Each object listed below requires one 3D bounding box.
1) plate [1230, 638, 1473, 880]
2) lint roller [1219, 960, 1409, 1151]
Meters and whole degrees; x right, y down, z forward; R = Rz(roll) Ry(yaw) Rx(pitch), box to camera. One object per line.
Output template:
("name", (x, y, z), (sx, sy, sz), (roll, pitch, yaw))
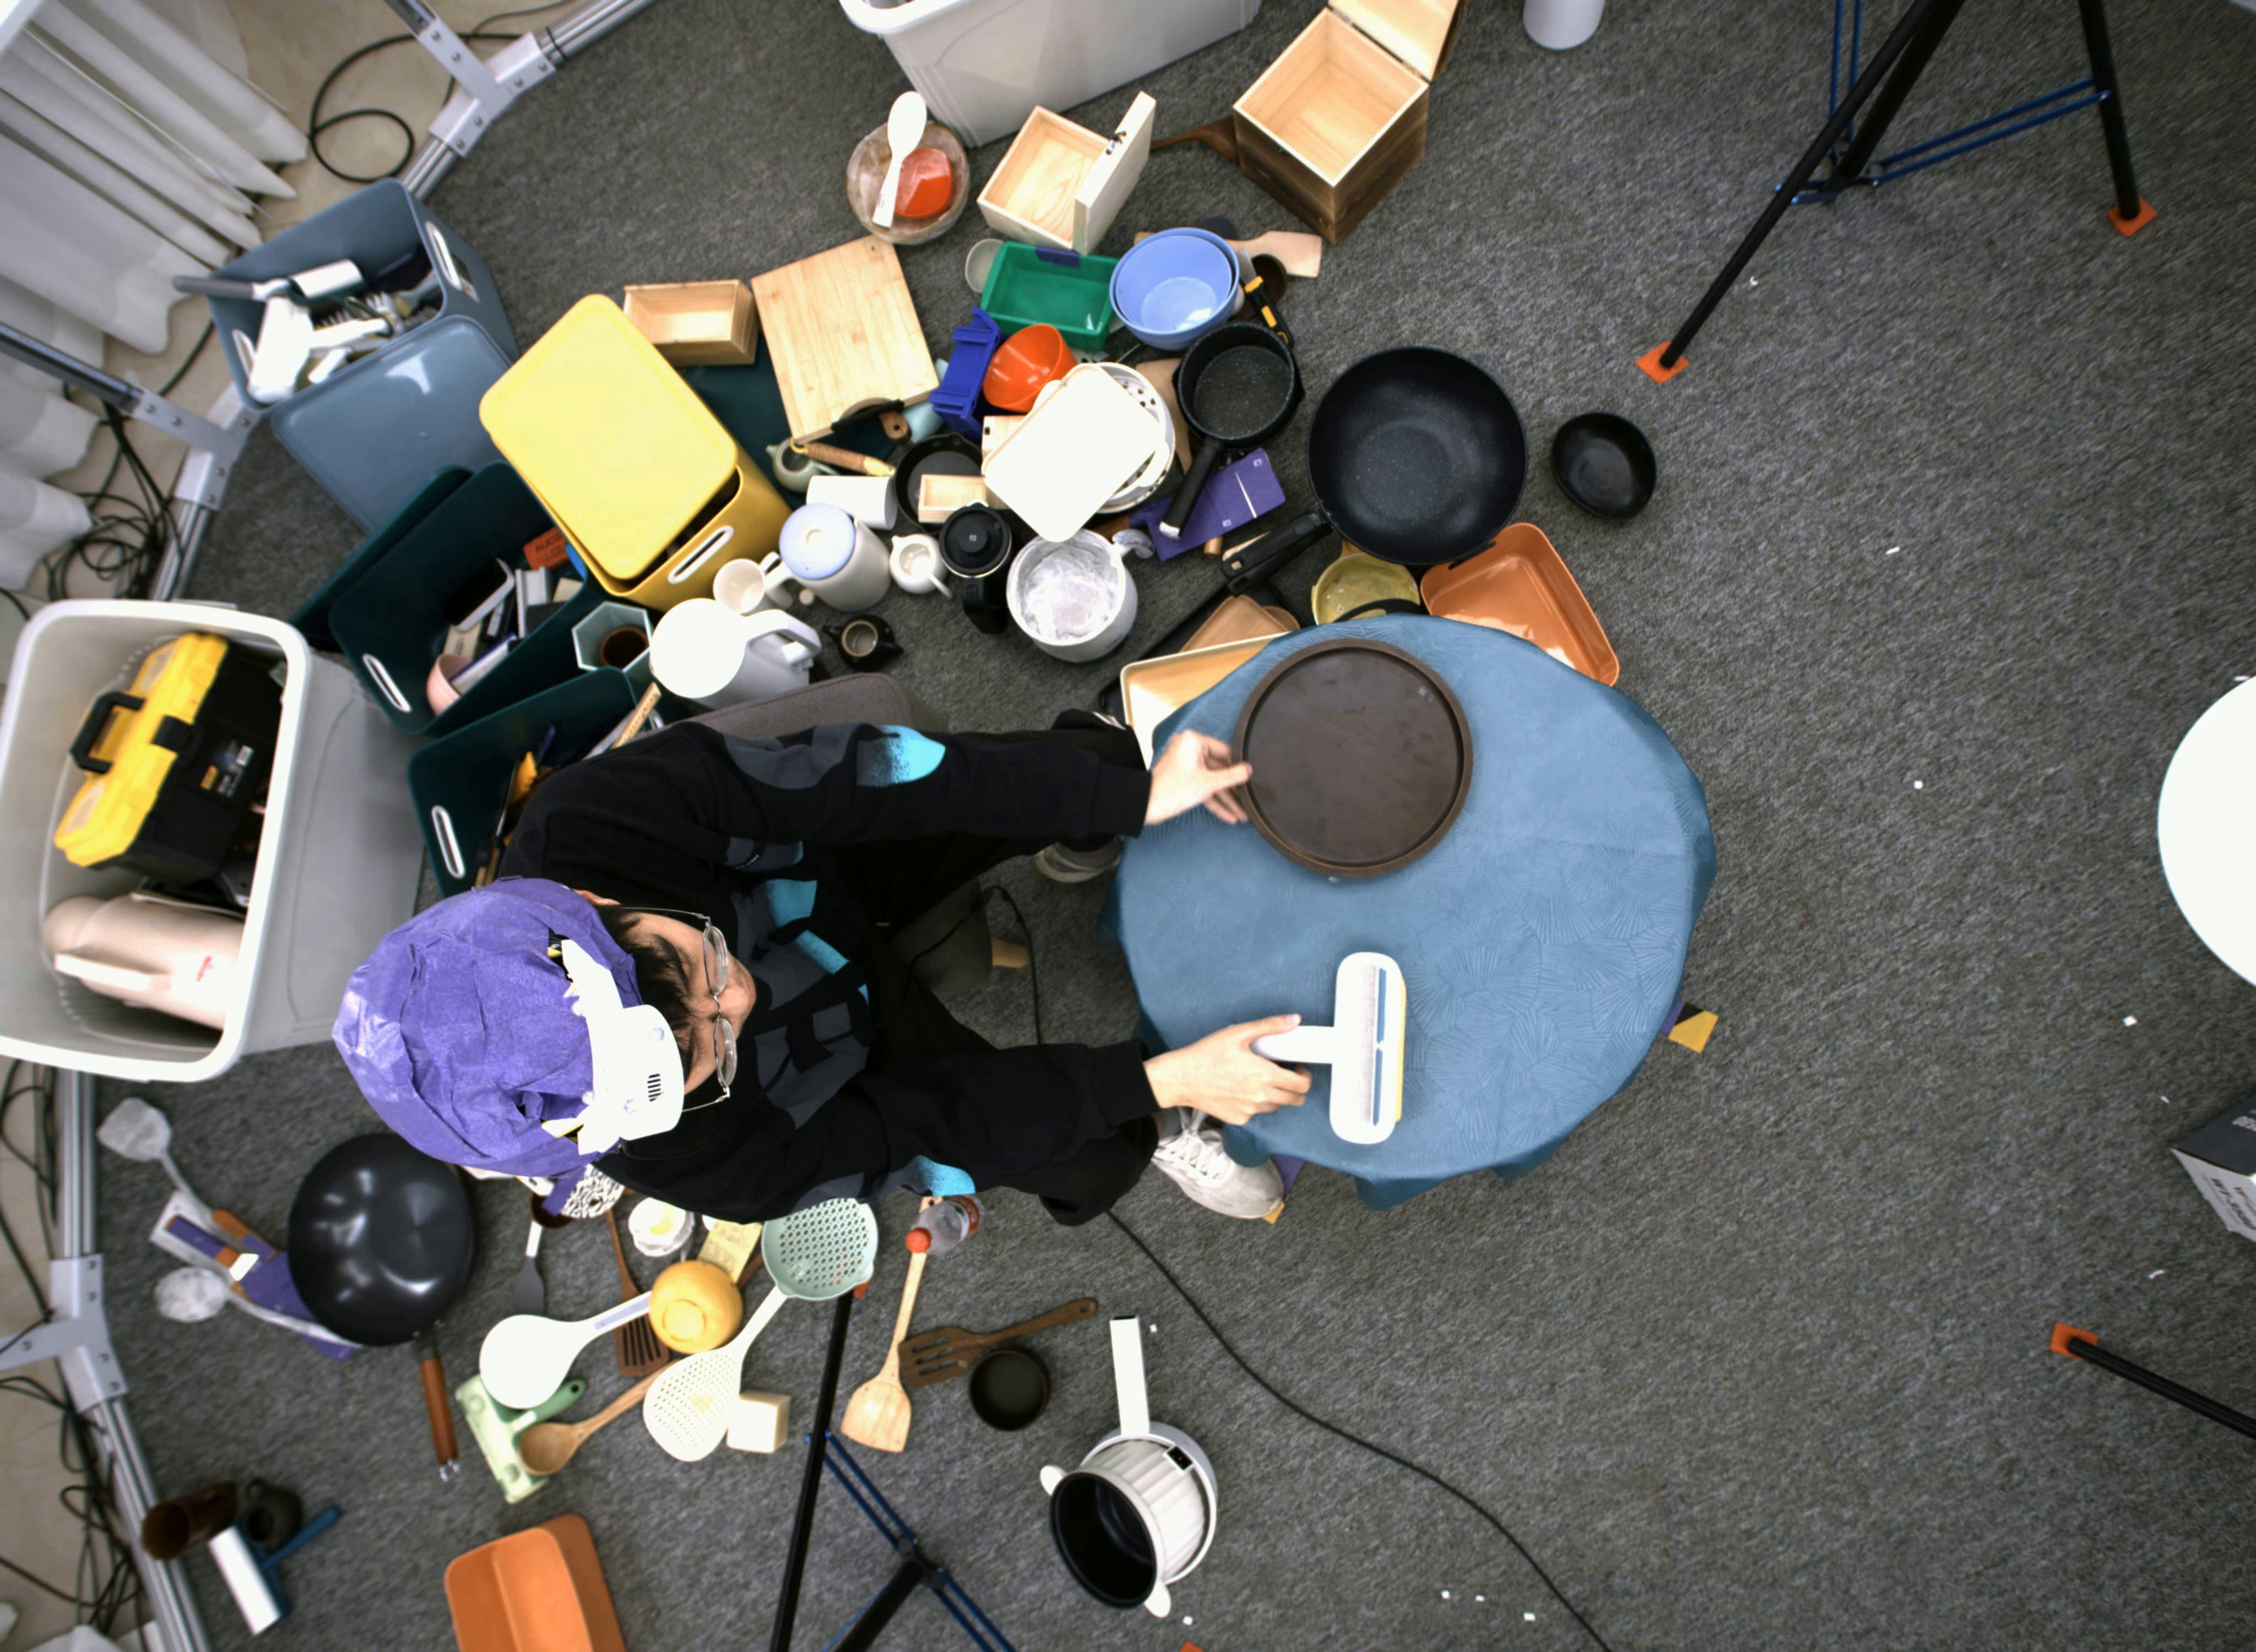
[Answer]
("plate", (0.234, -0.072, 1.443), (0.255, 0.029, 0.254), (0, 91, 5))
("lint roller", (0.186, 0.227, 1.429), (0.193, 0.074, 0.191), (6, 83, 12))
